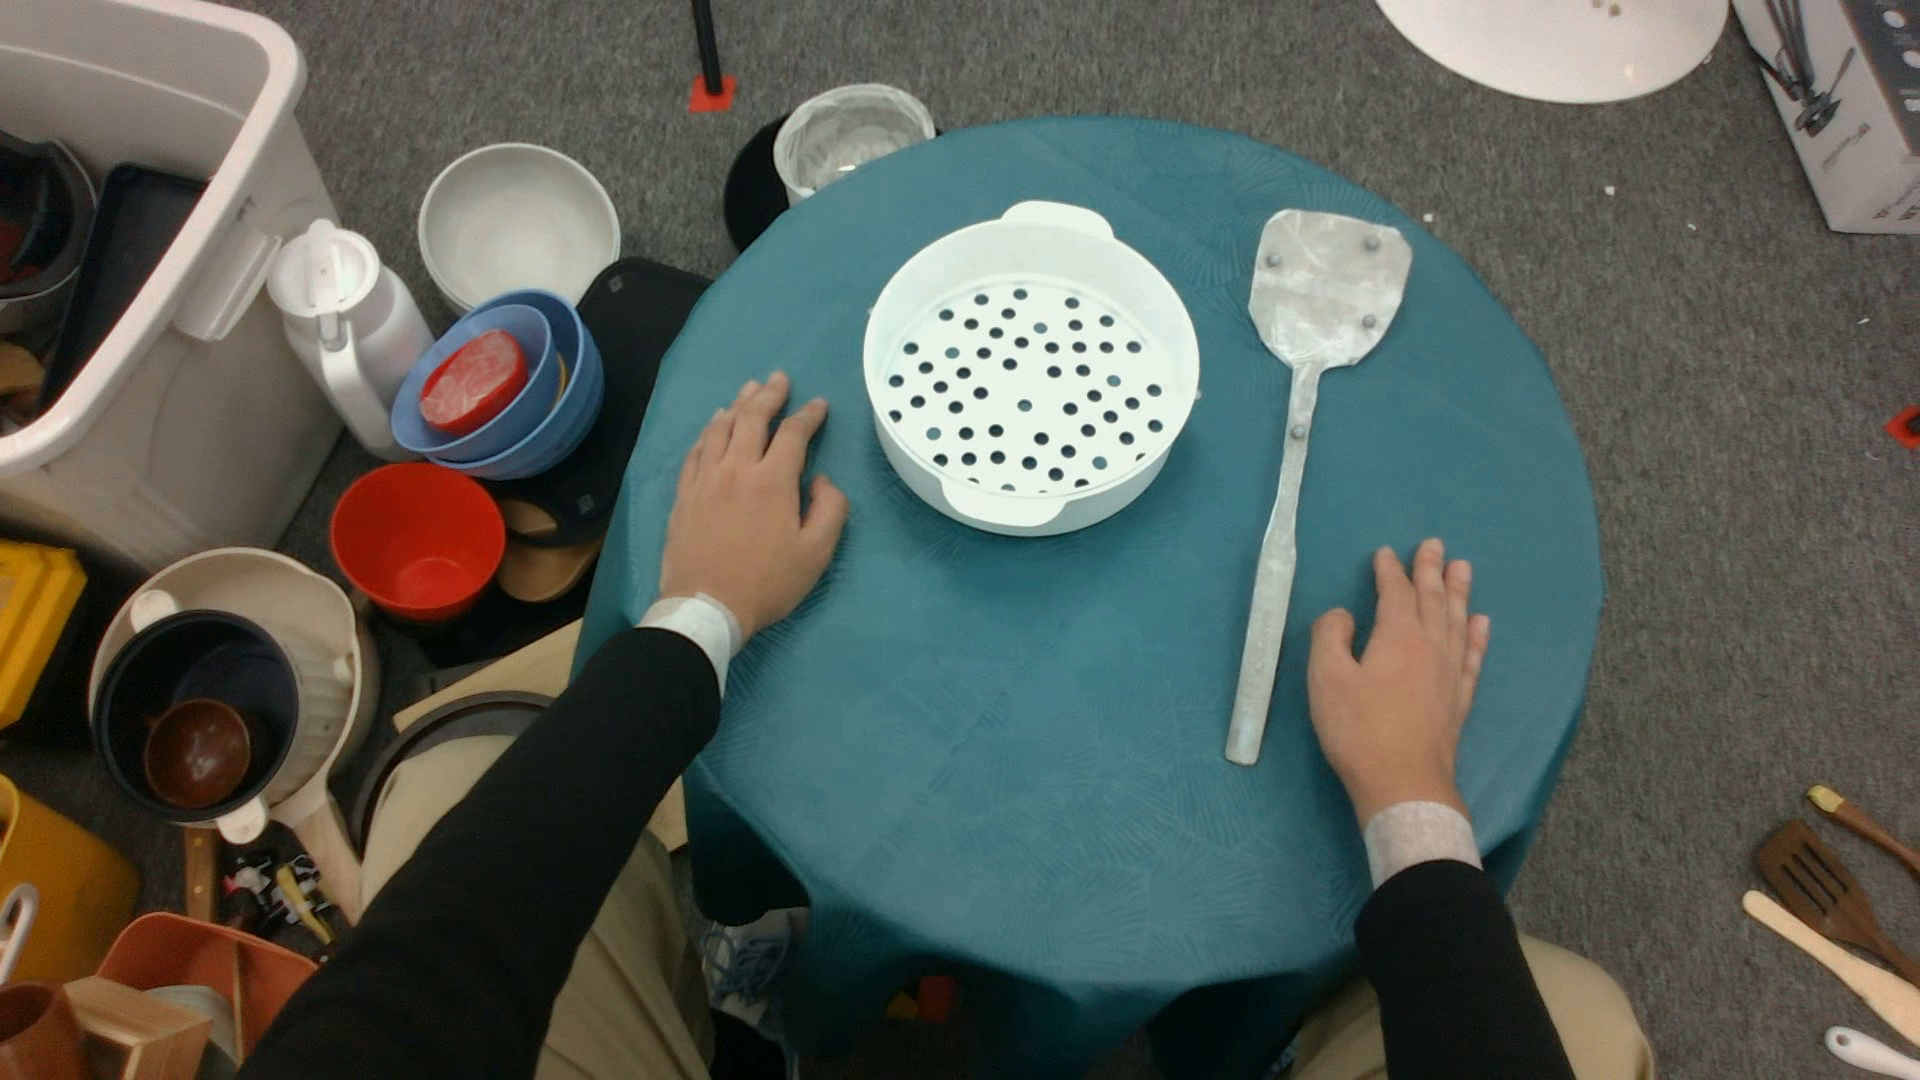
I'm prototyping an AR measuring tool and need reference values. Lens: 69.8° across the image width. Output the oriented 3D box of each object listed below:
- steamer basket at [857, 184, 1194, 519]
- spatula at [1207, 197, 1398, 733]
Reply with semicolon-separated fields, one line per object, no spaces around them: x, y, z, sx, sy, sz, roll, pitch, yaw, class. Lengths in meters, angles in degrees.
0.039;-0.110;0.848;0.202;0.069;0.231;10;65;4;steamer basket
0.198;-0.054;0.845;0.098;0.044;0.366;15;64;3;spatula
